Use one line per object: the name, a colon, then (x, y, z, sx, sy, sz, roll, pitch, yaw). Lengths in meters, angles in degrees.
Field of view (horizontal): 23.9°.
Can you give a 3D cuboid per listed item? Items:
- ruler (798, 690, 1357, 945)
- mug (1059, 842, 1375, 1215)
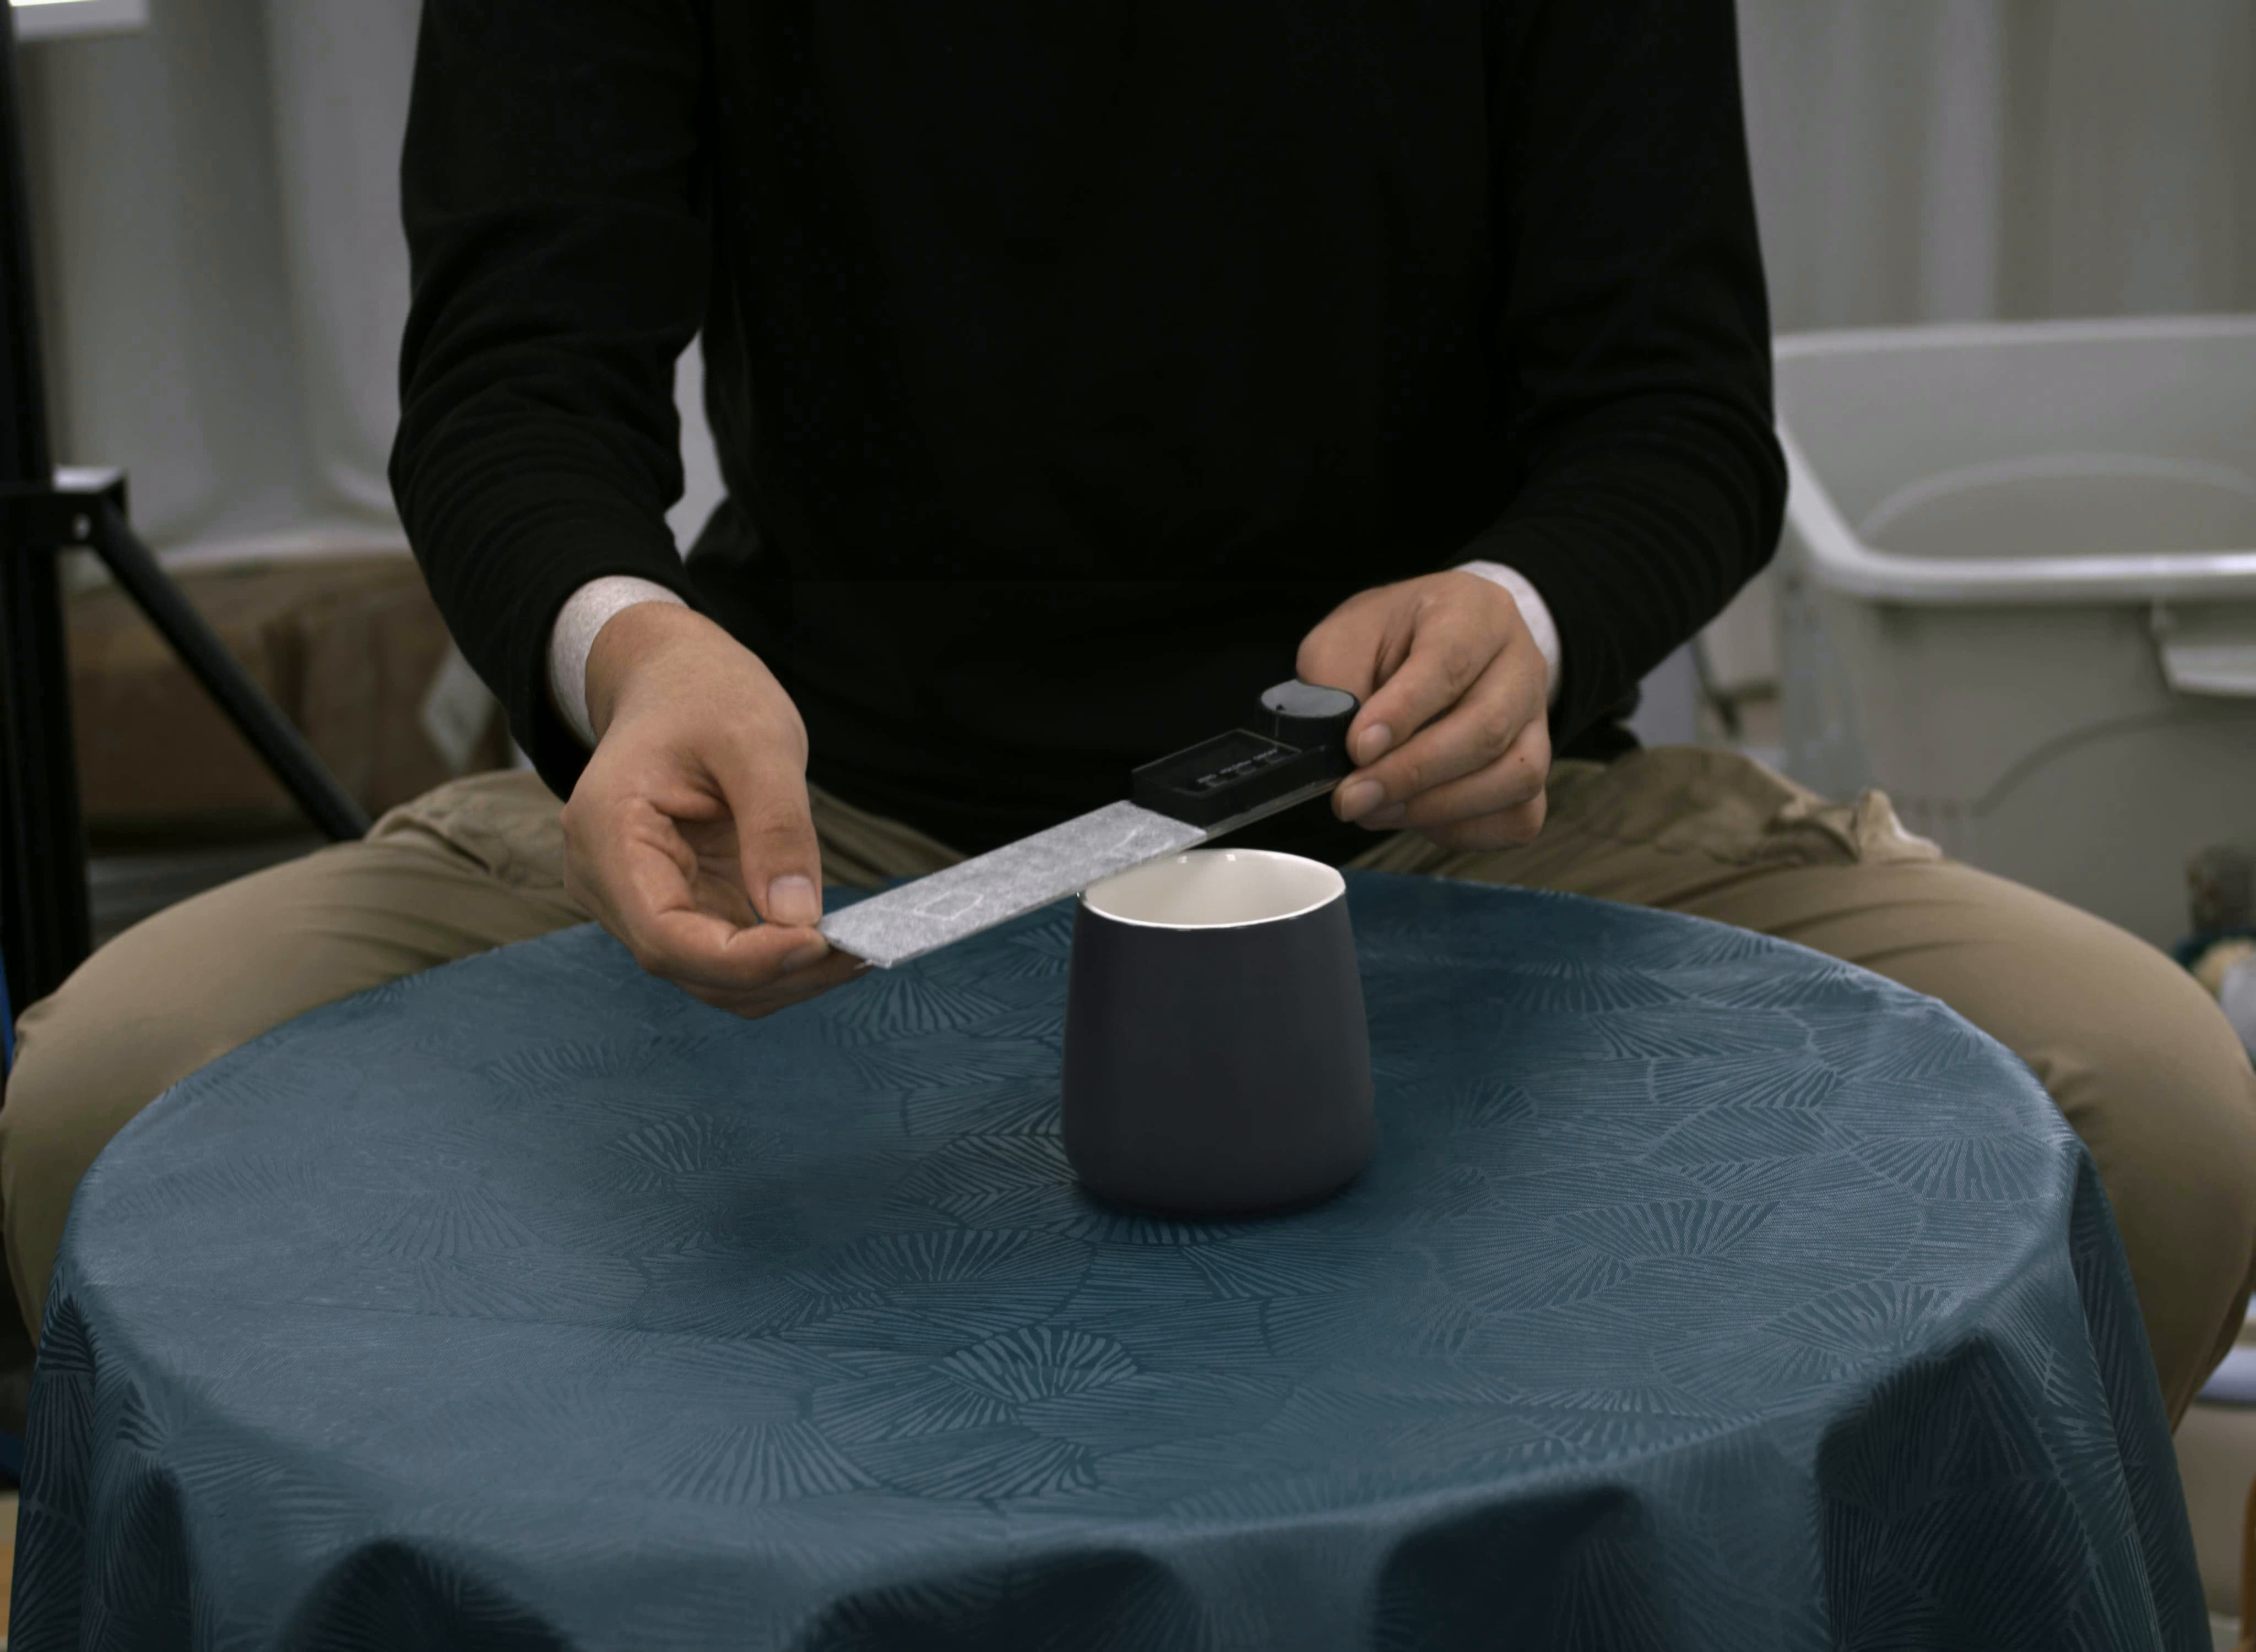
ruler: (-0.008, -0.005, 1.555, 0.039, 0.024, 0.213, 13, 22, 41)
mug: (0.027, 0.055, 1.568, 0.093, 0.090, 0.123, 0, 17, 5)
